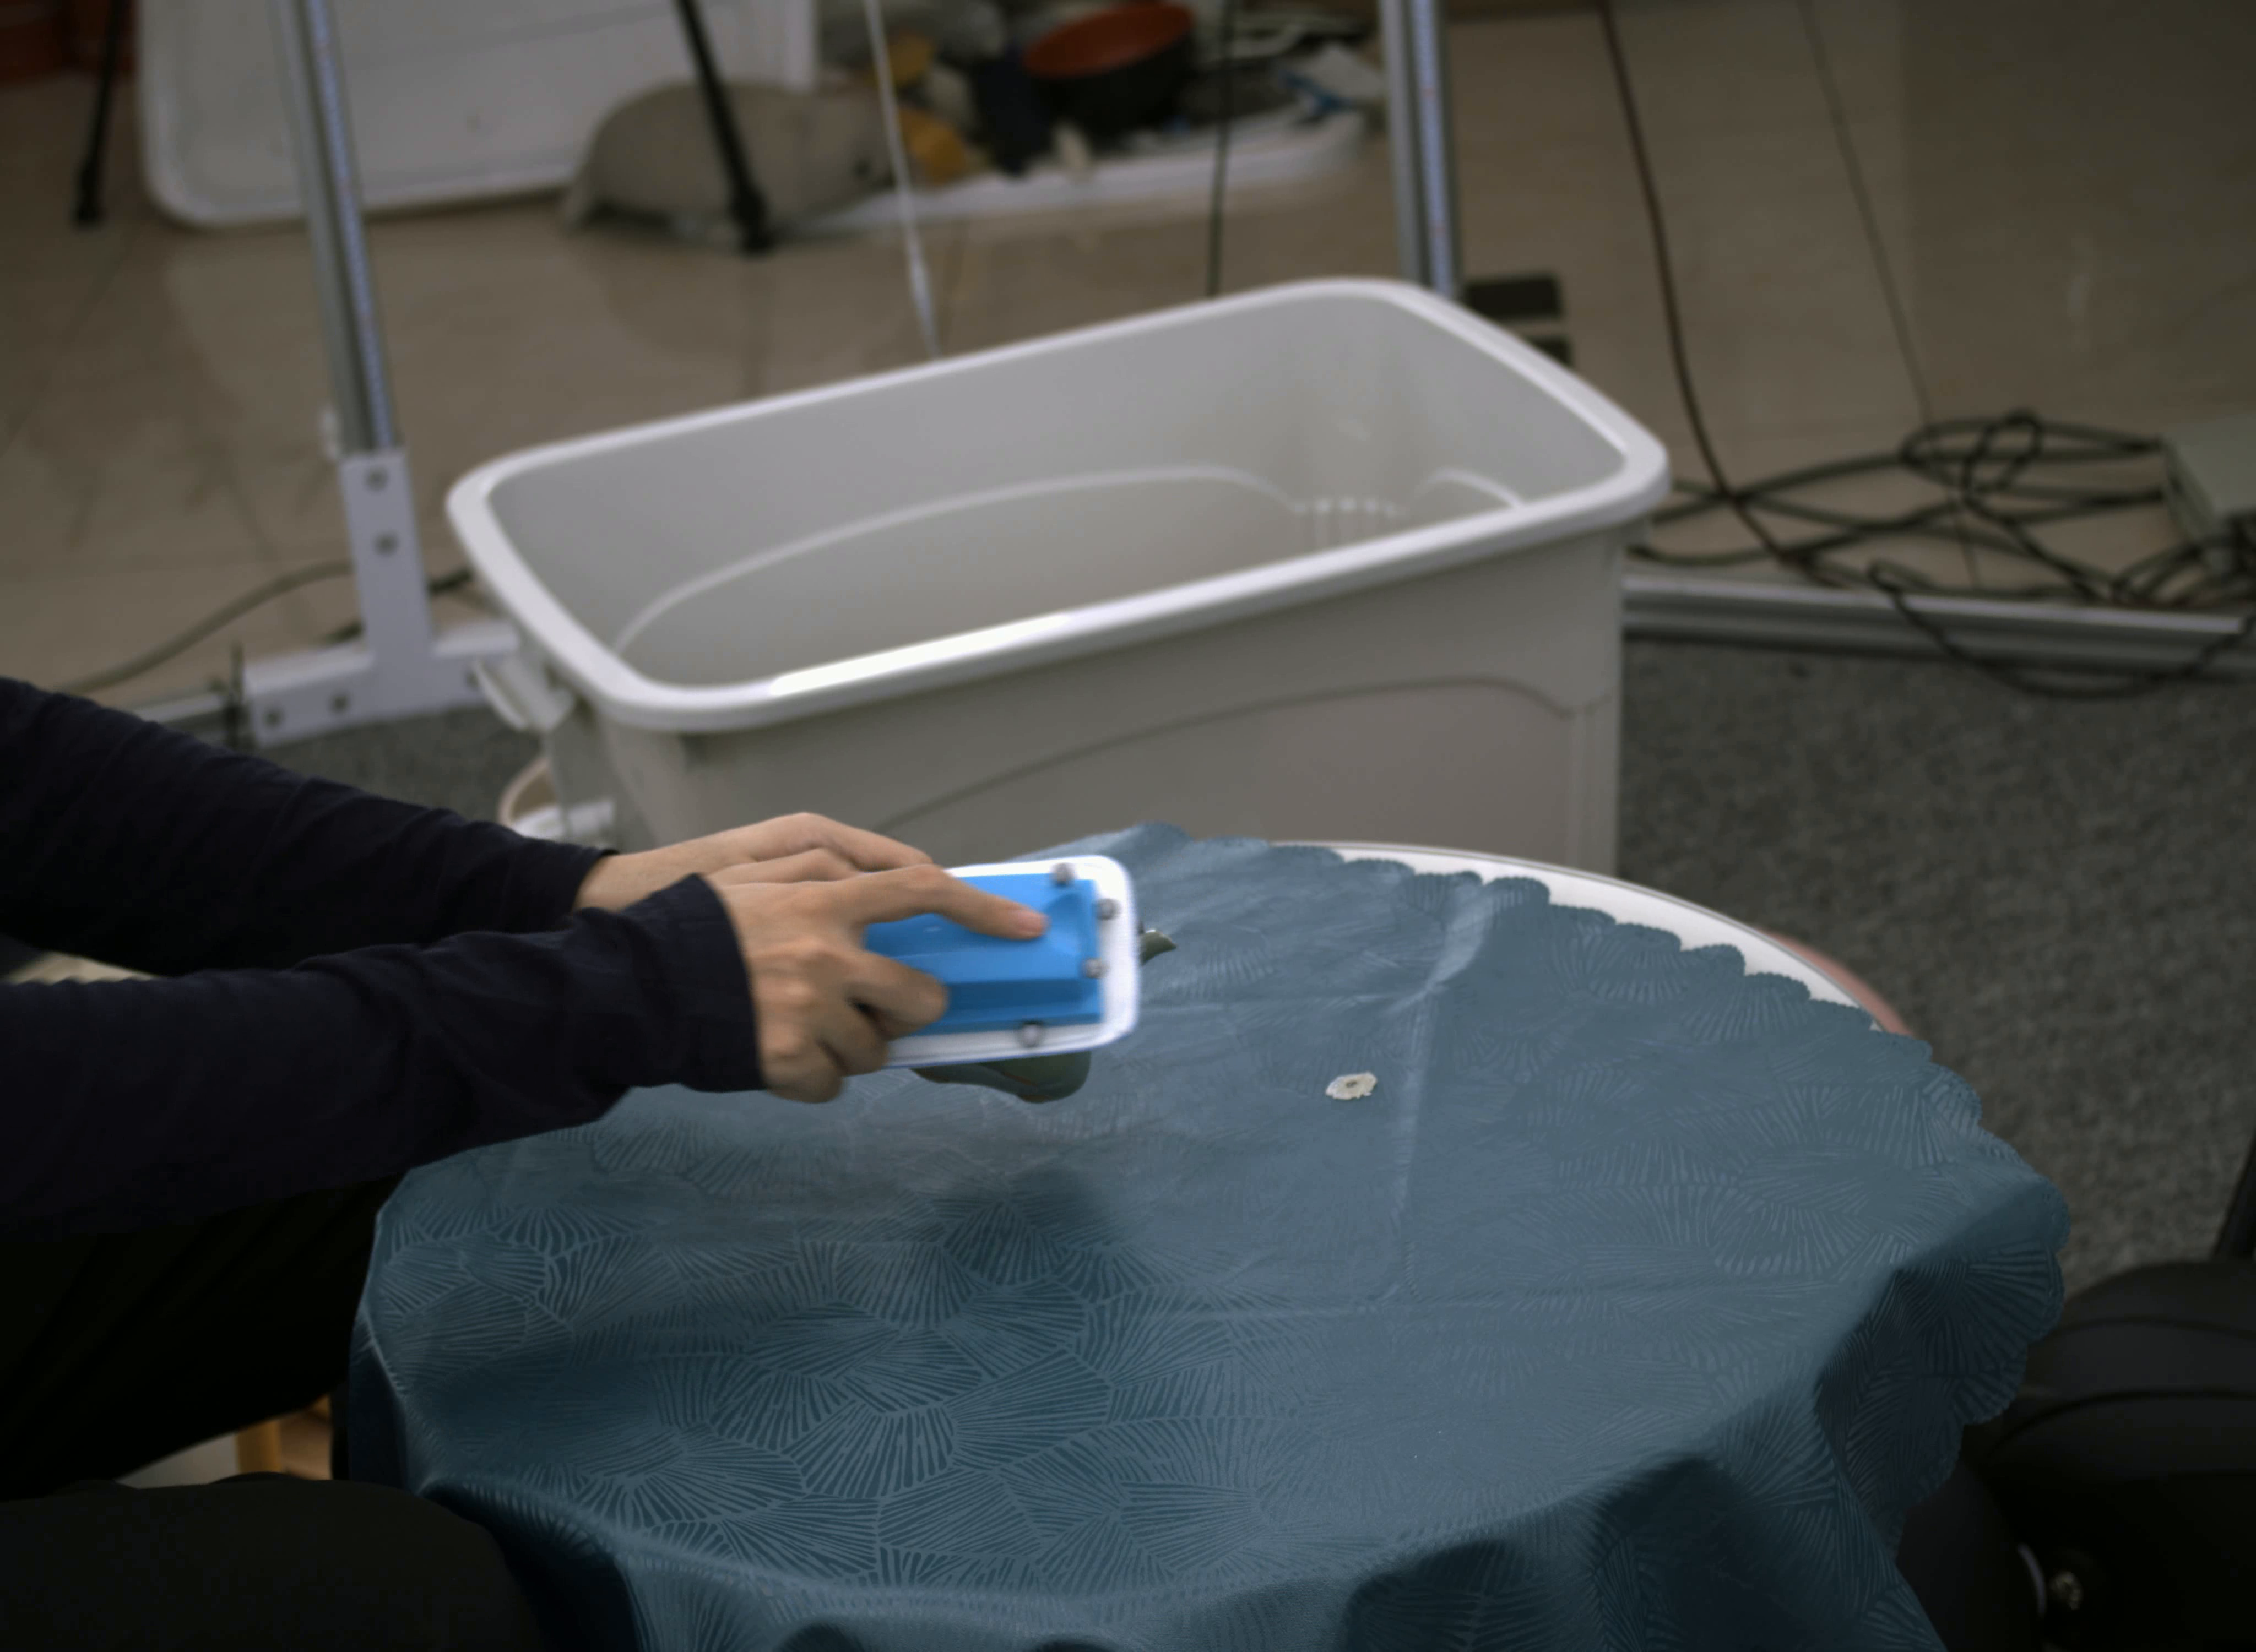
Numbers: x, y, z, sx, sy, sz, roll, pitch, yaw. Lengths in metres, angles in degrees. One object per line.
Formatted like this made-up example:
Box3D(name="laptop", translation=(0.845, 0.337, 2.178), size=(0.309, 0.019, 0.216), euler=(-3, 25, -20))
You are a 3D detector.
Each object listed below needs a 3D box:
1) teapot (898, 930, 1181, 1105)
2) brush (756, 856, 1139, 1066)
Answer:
Box3D(name="teapot", translation=(-0.050, 0.062, 2.166), size=(0.132, 0.075, 0.080), euler=(11, -12, 9))
Box3D(name="brush", translation=(-0.068, 0.044, 2.110), size=(0.144, 0.056, 0.083), euler=(-1, 67, 2))
